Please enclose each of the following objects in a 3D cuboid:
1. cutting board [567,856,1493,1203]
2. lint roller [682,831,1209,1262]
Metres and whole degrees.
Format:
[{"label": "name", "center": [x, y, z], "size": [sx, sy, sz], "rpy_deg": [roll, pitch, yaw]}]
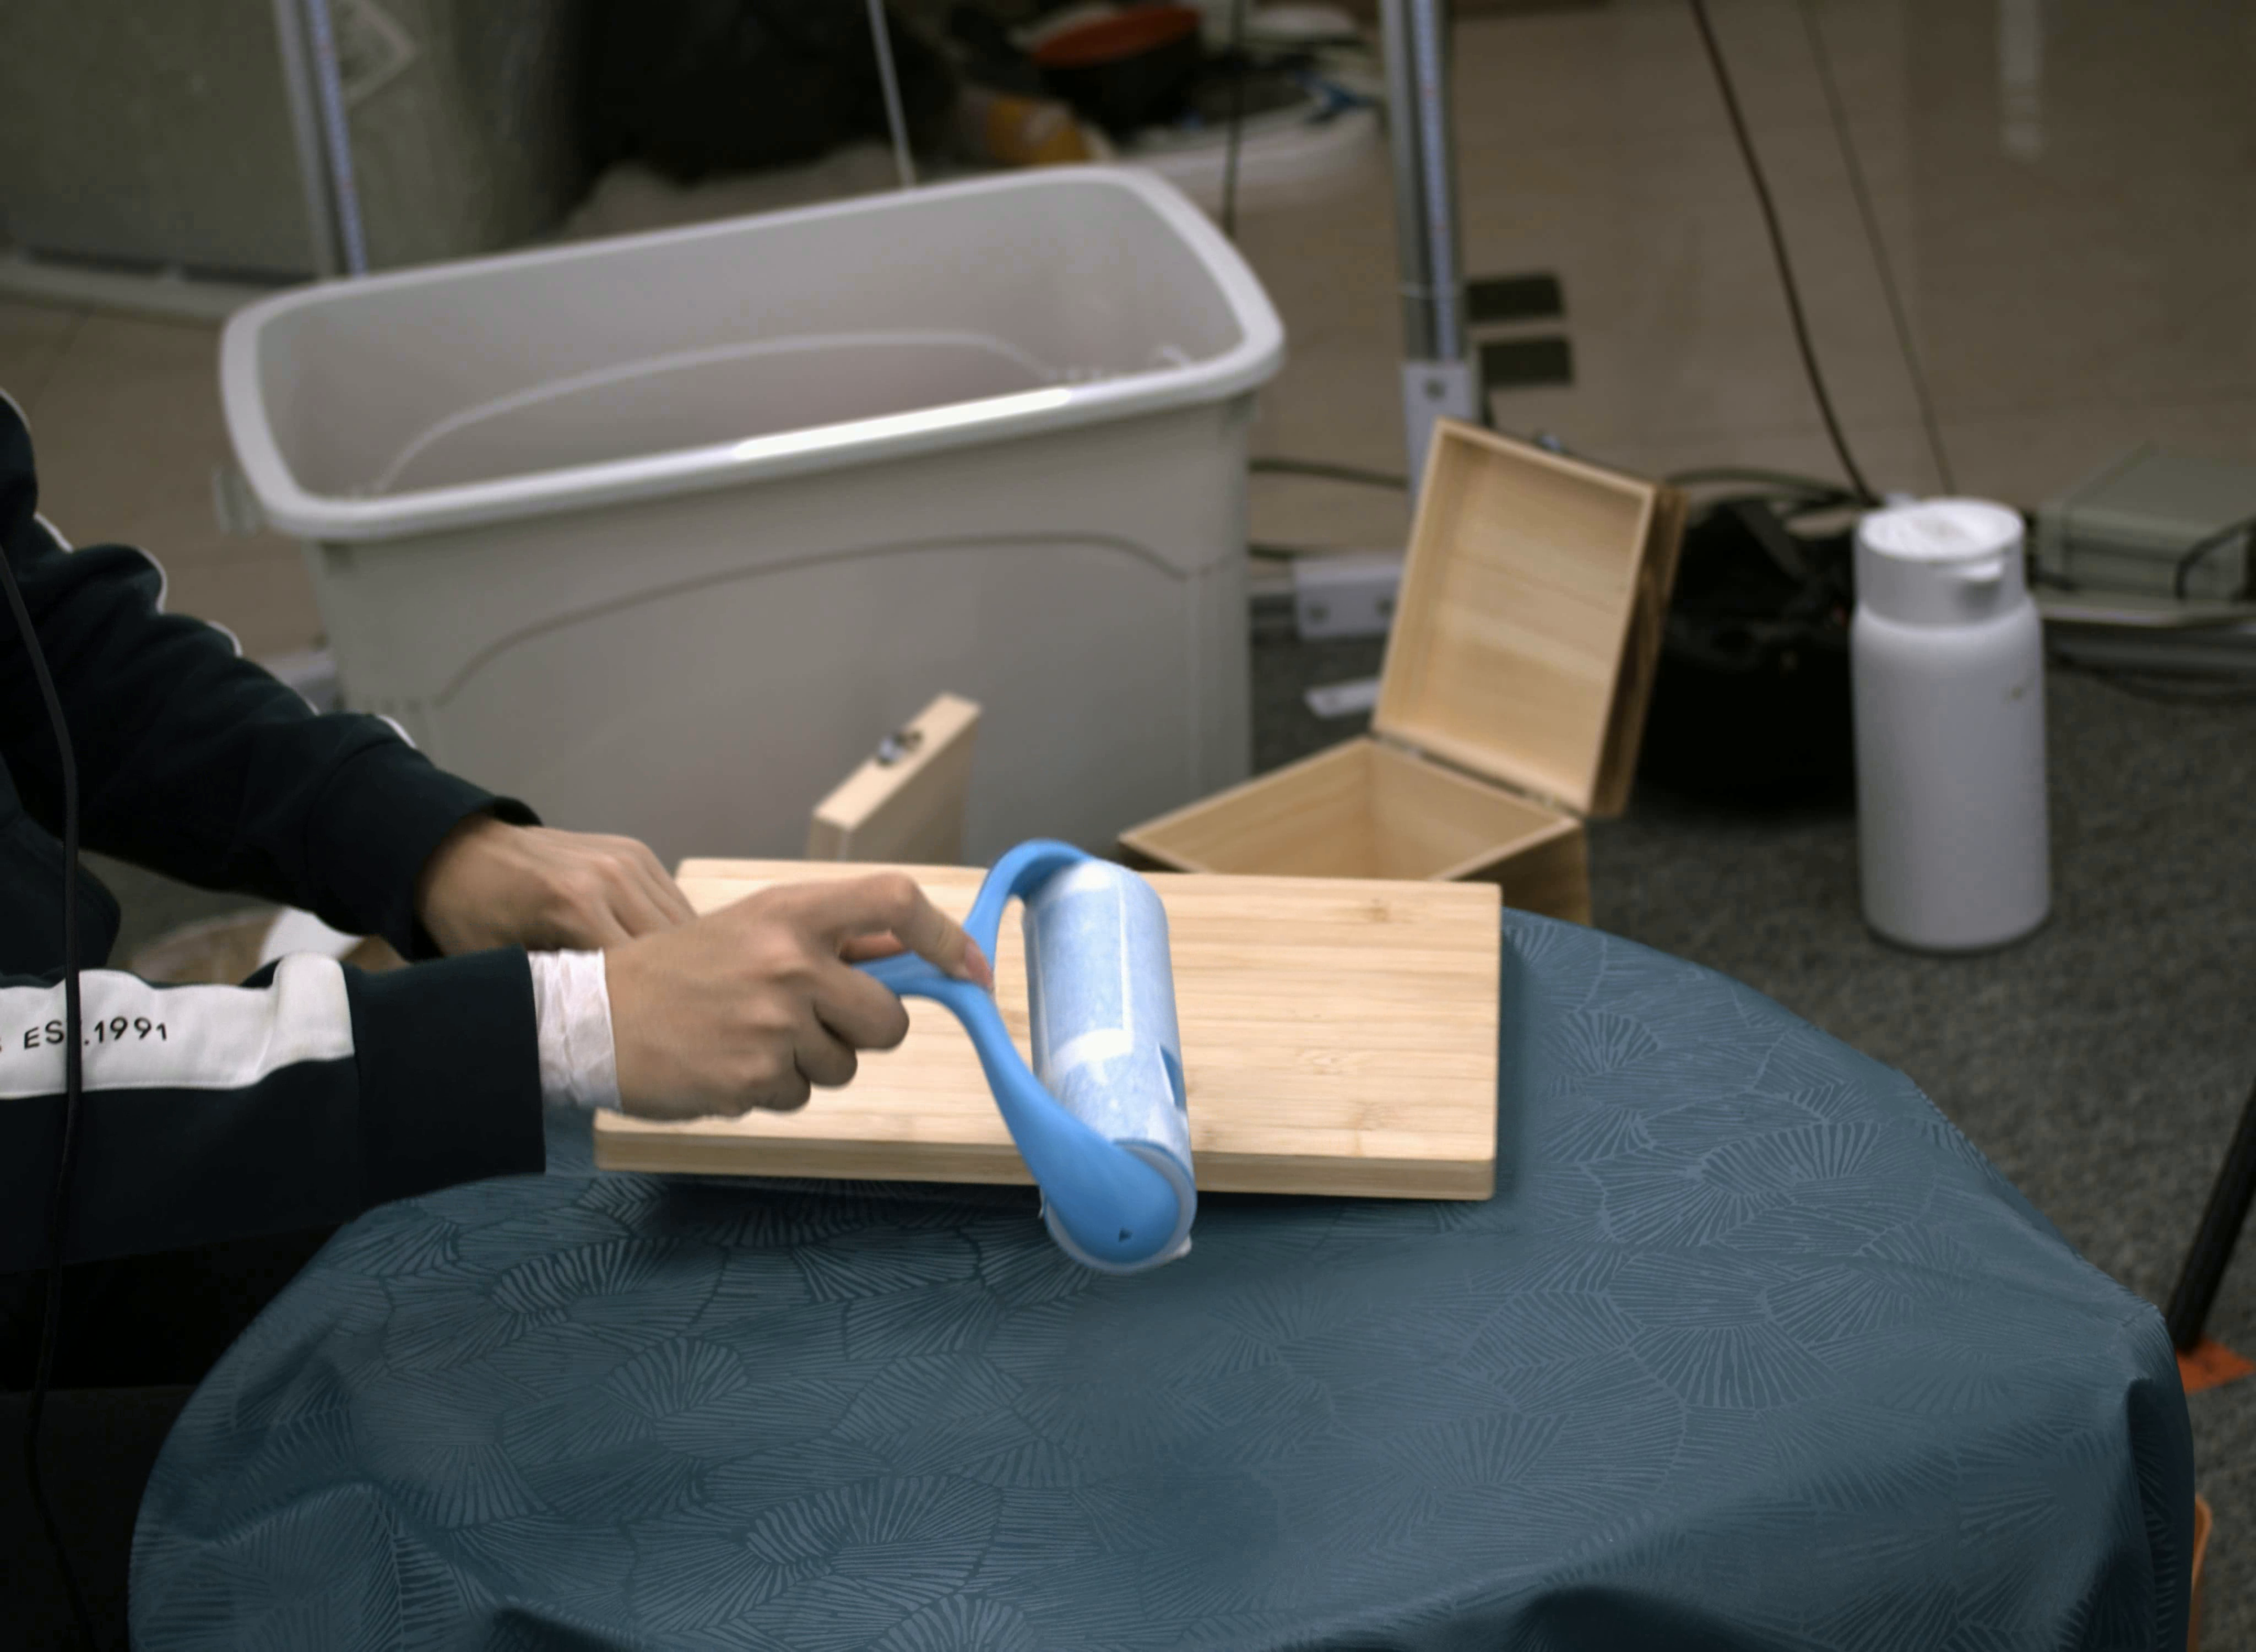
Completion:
[{"label": "cutting board", "center": [-0.031, 0.077, 2.223], "size": [0.348, 0.024, 0.247], "rpy_deg": [2, 25, 3]}, {"label": "lint roller", "center": [-0.064, 0.073, 2.003], "size": [0.180, 0.069, 0.225], "rpy_deg": [5, 31, -10]}]
